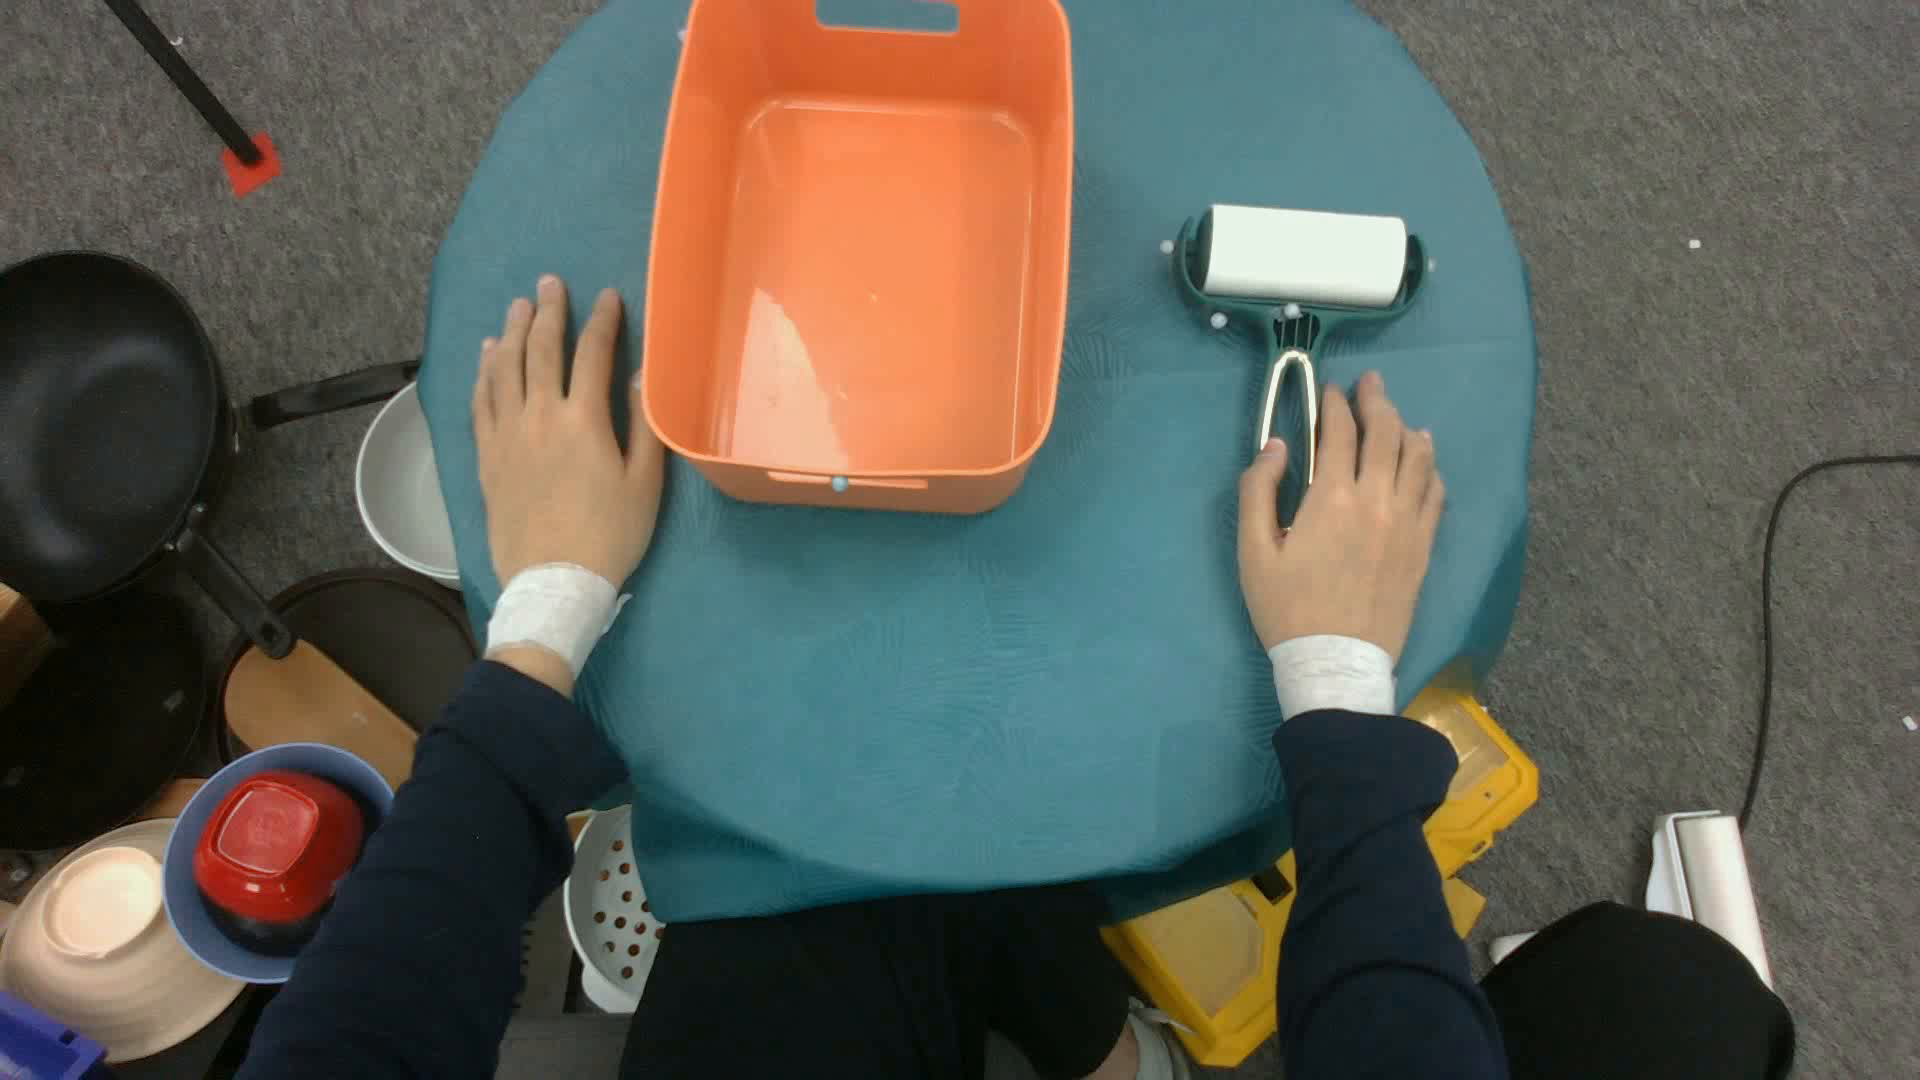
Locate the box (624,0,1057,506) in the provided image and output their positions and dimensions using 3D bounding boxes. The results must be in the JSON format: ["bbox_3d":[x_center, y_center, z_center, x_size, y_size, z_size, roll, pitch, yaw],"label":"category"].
[{"bbox_3d":[-0.053,-0.150,0.703,0.199,0.102,0.274,3,73,0],"label":"box"}]

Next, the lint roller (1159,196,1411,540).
[{"bbox_3d":[0.167,-0.092,0.725,0.134,0.048,0.180,5,77,0],"label":"lint roller"}]
